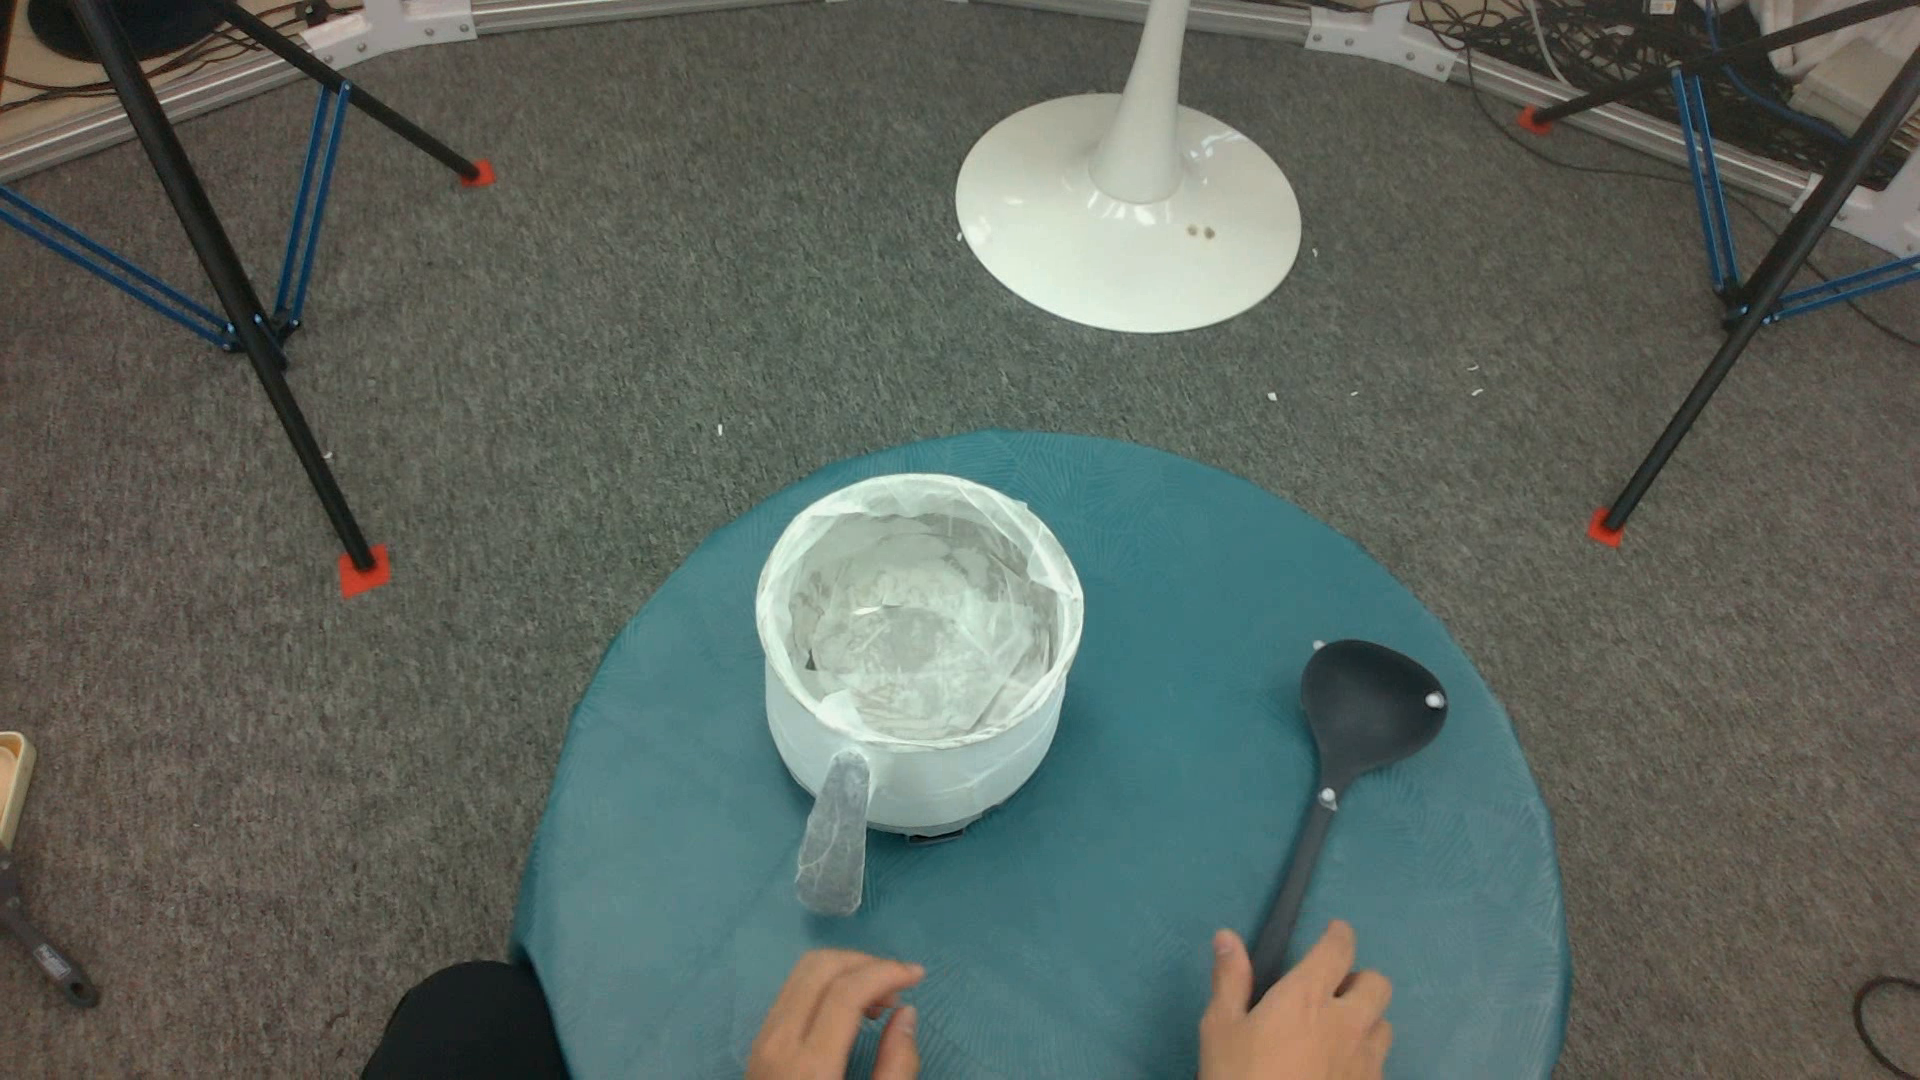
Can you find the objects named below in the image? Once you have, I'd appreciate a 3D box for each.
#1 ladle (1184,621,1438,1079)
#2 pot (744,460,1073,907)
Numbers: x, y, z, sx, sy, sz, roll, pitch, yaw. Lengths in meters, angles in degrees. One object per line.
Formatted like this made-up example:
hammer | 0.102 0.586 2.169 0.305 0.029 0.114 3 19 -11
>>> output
ladle | 0.188 0.181 0.776 0.086 0.063 0.315 22 56 16
pot | -0.040 0.084 0.776 0.178 0.136 0.235 17 55 7
